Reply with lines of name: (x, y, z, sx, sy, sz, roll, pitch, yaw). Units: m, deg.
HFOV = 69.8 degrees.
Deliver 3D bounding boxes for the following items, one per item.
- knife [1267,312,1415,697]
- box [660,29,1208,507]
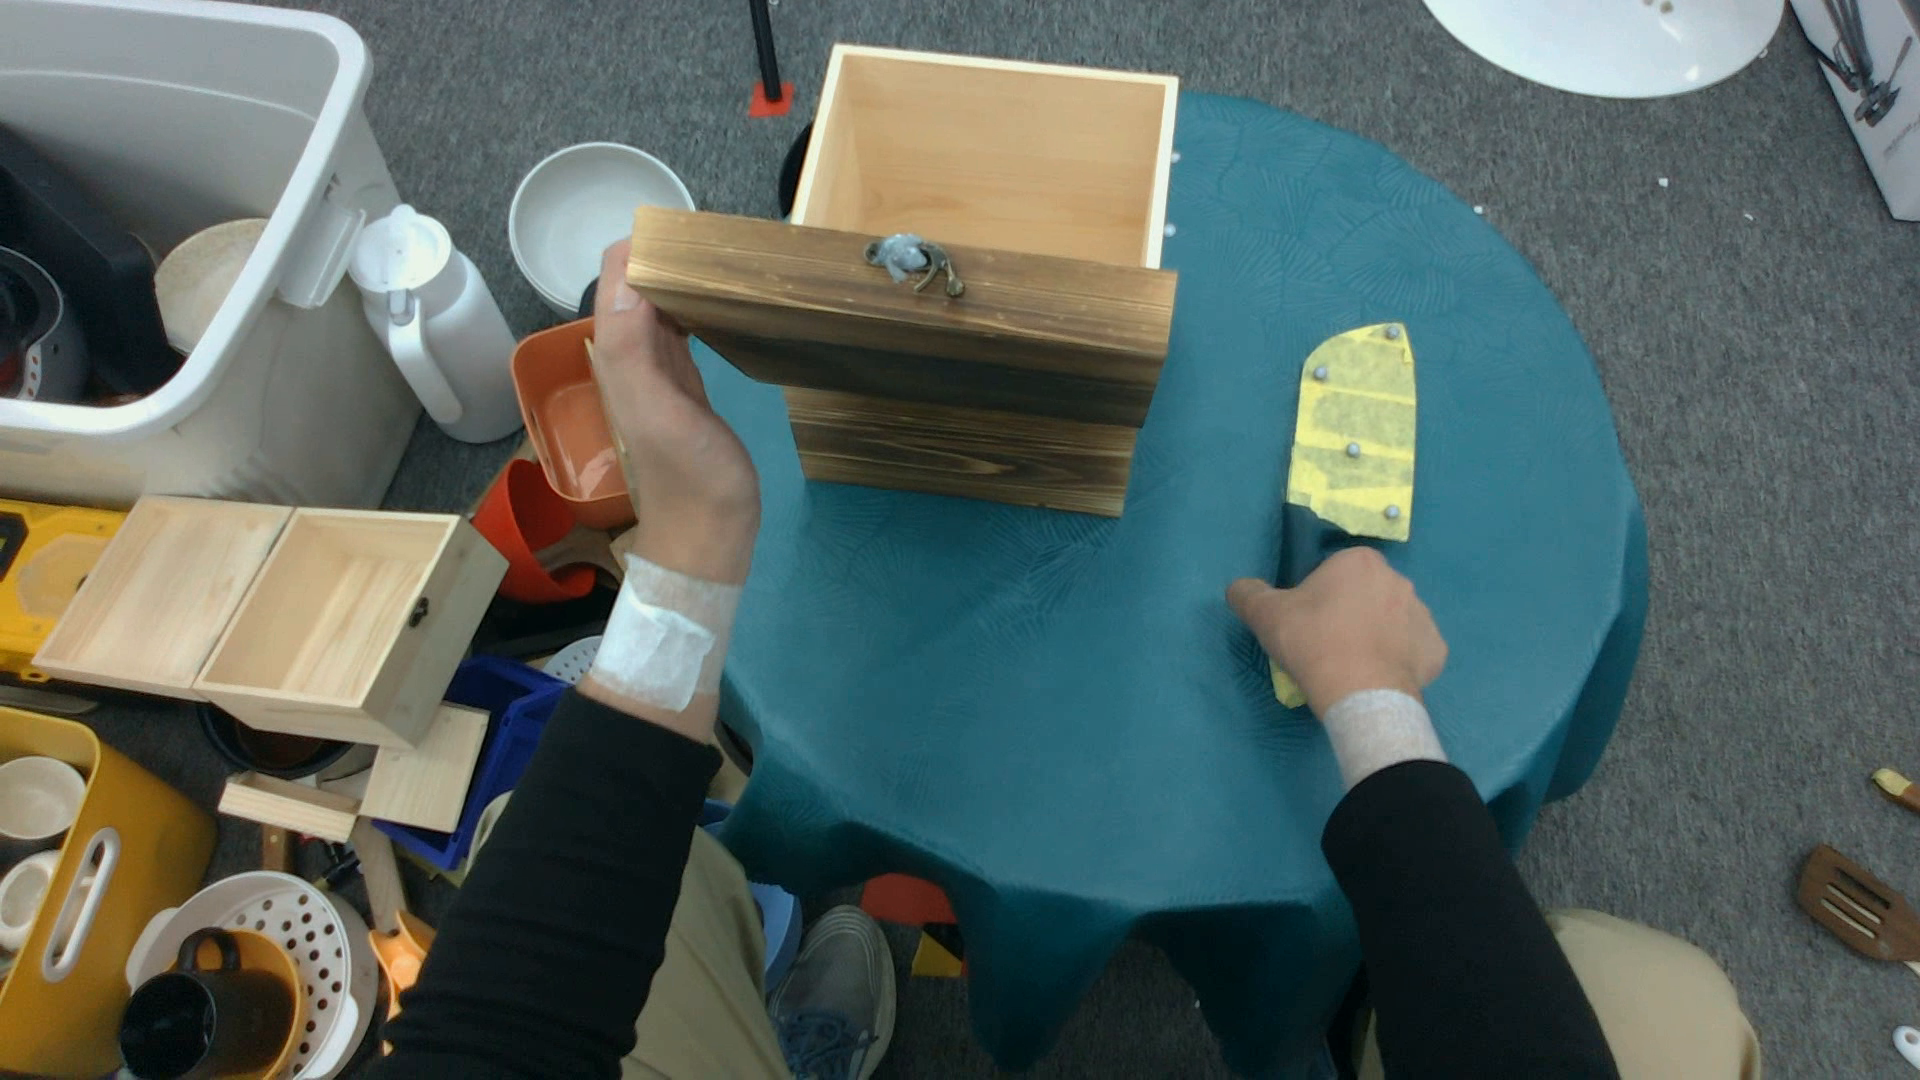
knife: (0.230, -0.032, 0.829, 0.081, 0.027, 0.291, 7, 57, 20)
box: (0.006, -0.155, 0.716, 0.209, 0.374, 0.323, 7, 64, 4)
